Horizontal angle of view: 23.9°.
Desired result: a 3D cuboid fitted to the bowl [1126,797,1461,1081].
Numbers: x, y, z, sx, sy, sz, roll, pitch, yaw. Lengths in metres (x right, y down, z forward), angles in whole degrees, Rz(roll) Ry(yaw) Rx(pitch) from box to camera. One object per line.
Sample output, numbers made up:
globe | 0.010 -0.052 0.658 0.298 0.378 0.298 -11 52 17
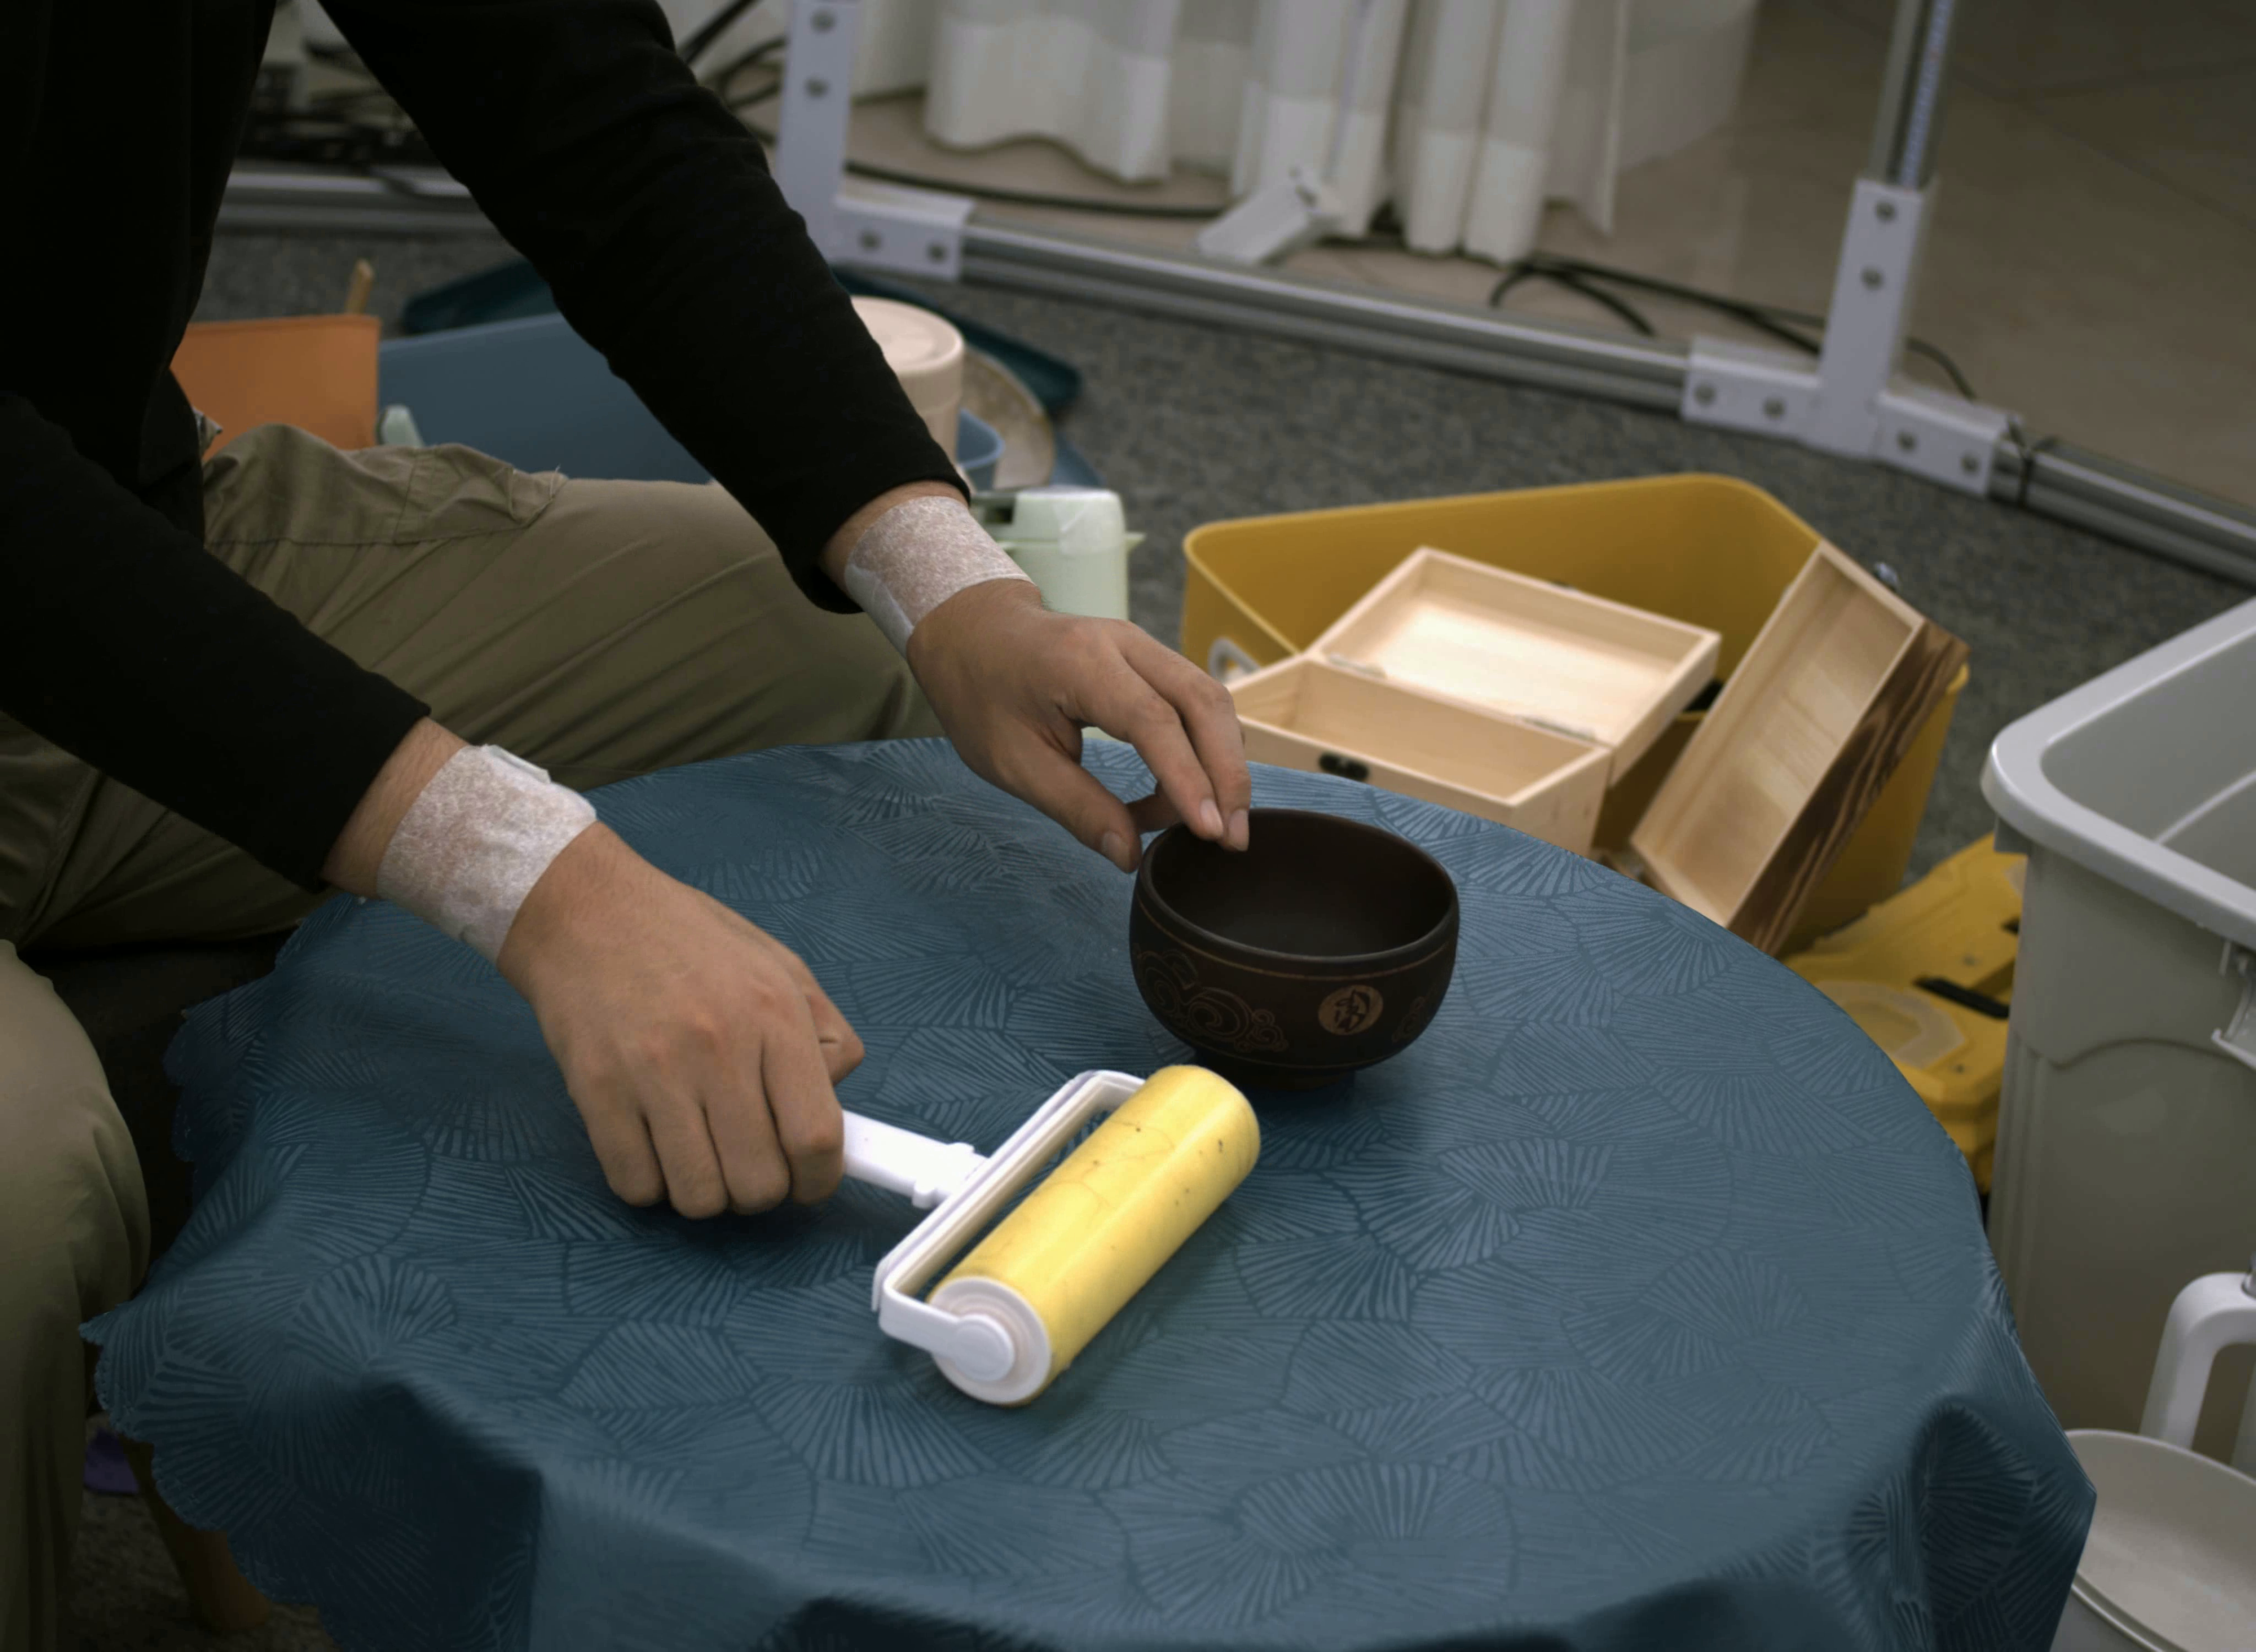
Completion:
bowl | 0.056 0.047 1.883 0.117 0.069 0.119 6 27 -4

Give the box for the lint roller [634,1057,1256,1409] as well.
lint roller | -0.074 0.105 1.750 0.192 0.051 0.174 25 31 14
